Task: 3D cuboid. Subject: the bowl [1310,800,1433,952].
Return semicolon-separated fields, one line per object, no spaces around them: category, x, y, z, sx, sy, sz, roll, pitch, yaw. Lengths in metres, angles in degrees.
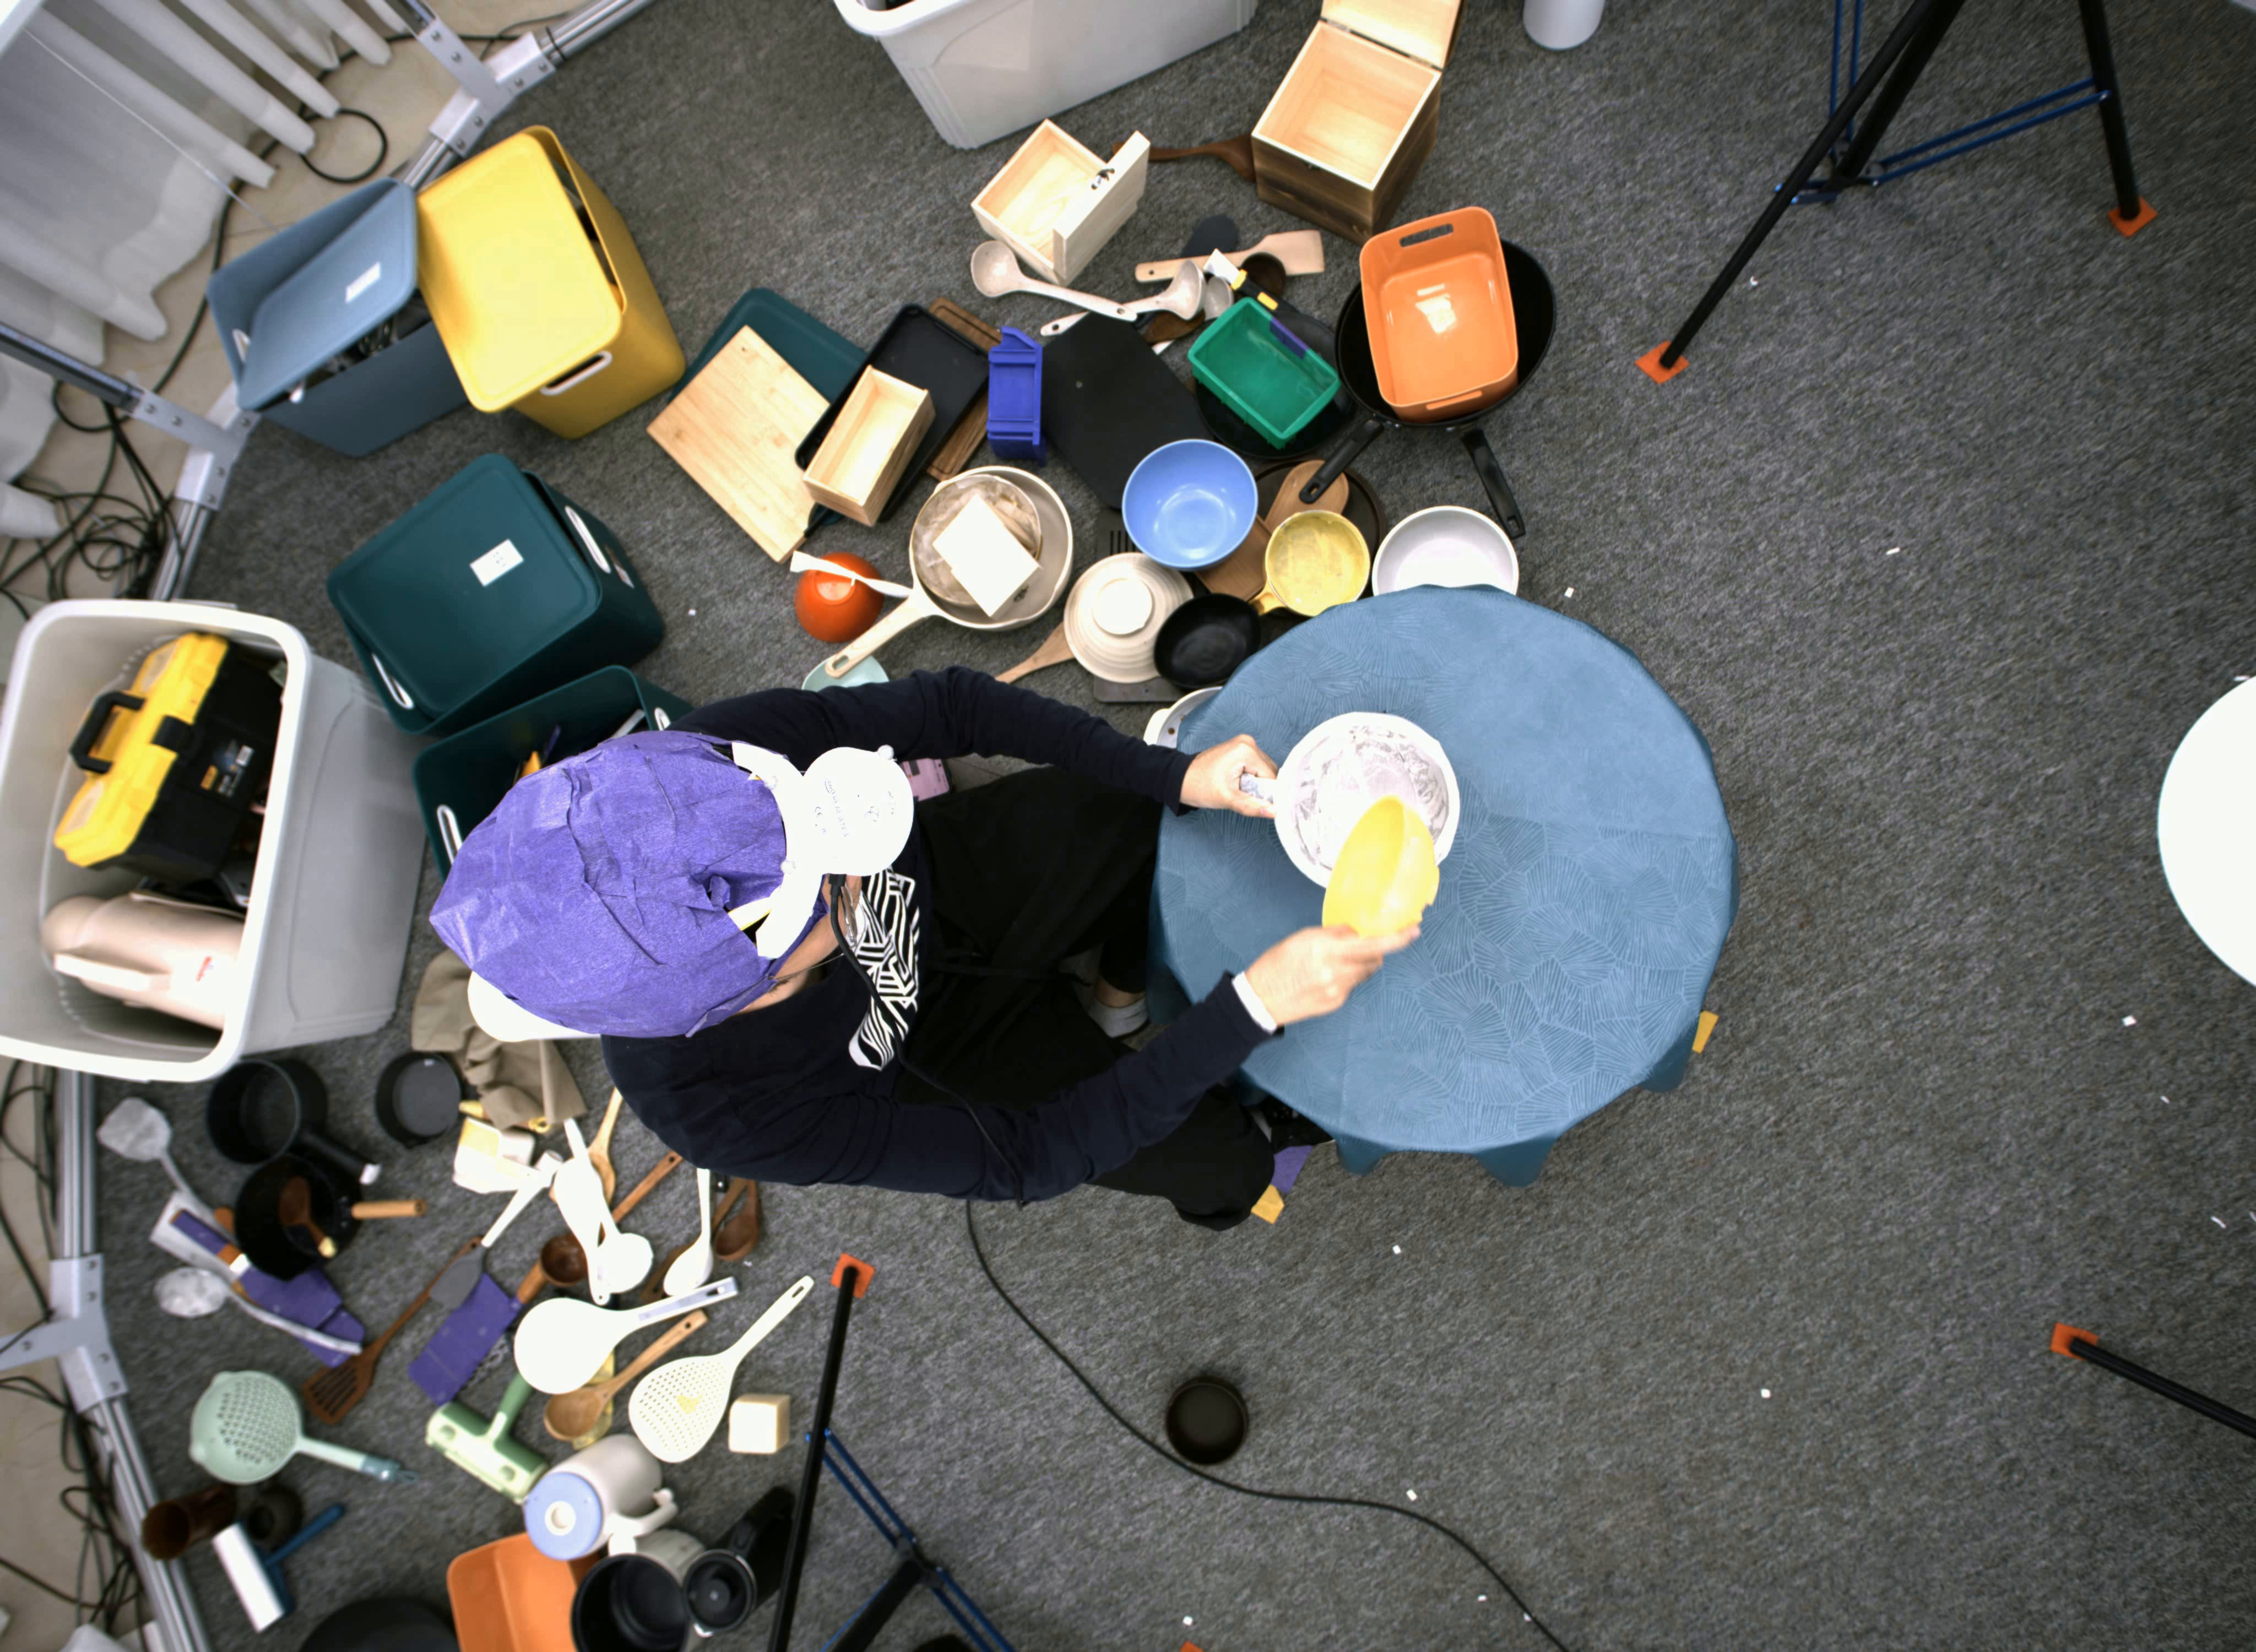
bowl;0.227;0.052;1.227;0.060;0.145;0.145;24;90;-19

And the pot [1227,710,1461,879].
pot;0.211;-0.031;1.382;0.234;0.135;0.180;6;97;10
